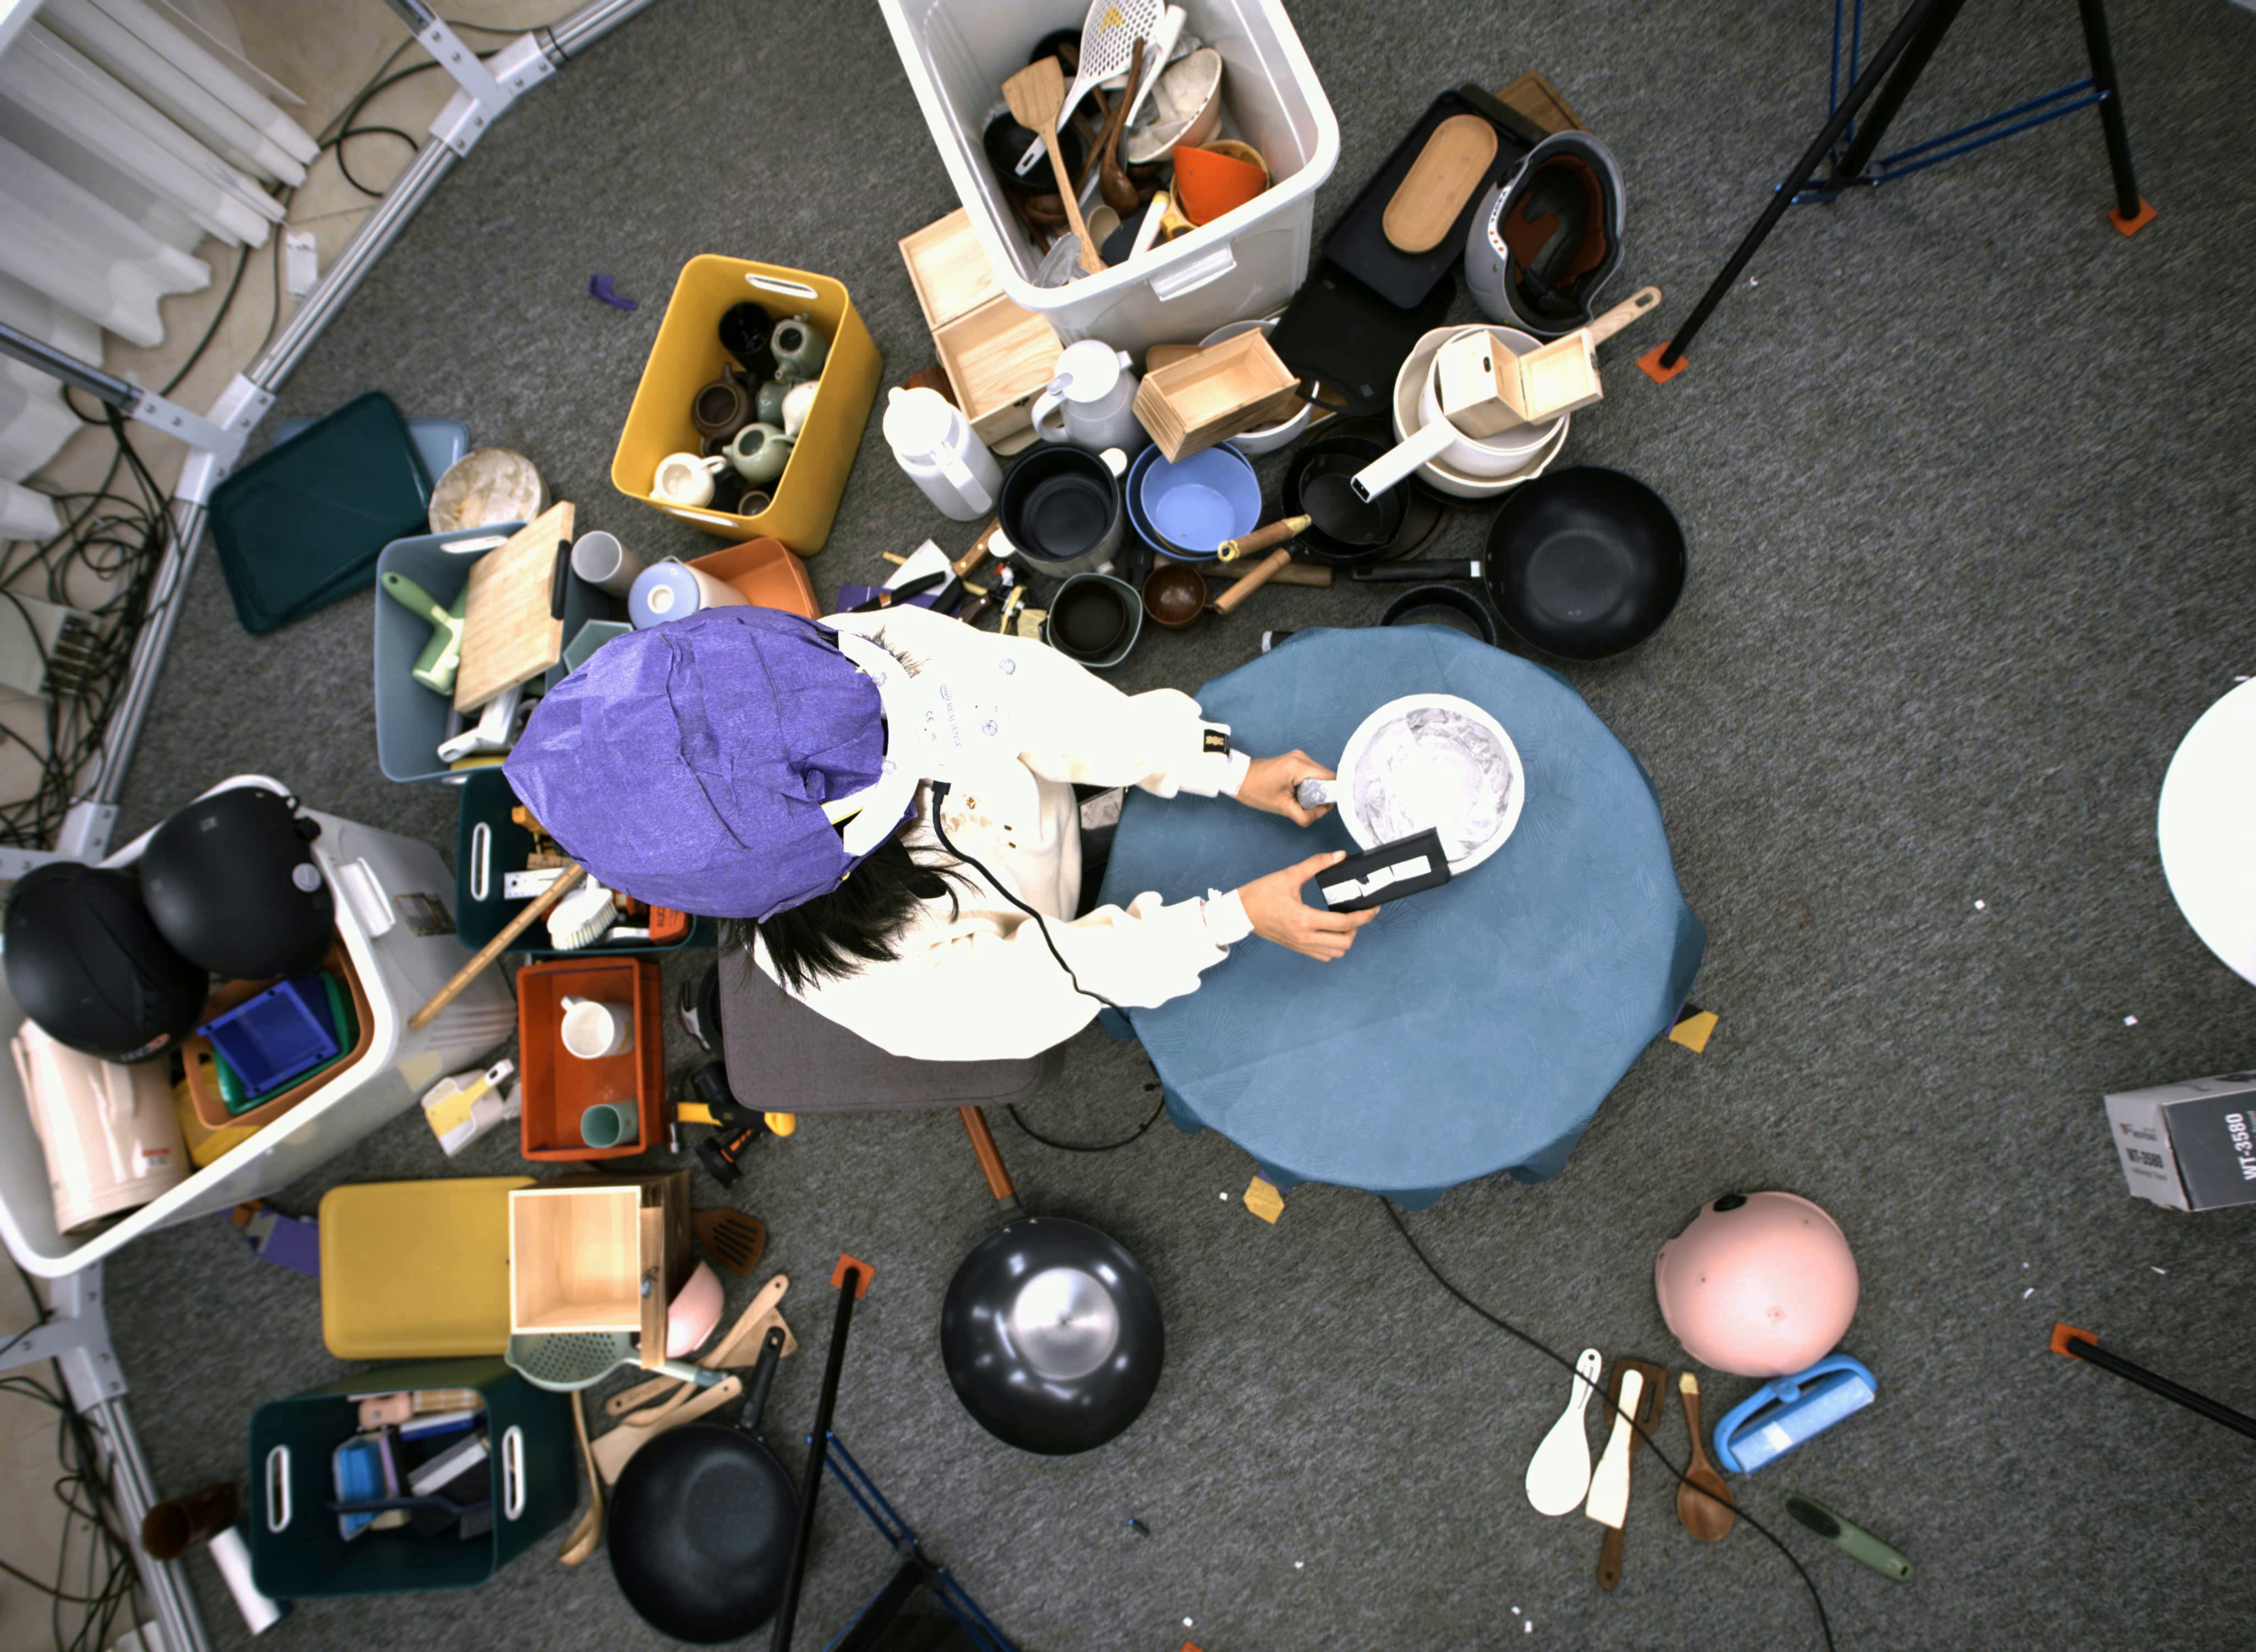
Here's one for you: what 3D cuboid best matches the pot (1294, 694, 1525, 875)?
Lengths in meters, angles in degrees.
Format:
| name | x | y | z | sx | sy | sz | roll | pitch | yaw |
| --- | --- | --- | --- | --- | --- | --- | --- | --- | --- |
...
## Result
| name | x | y | z | sx | sy | sz | roll | pitch | yaw |
| --- | --- | --- | --- | --- | --- | --- | --- | --- | --- |
| pot | 0.279 | -0.037 | 1.386 | 0.235 | 0.136 | 0.178 | -4 | 90 | 17 |

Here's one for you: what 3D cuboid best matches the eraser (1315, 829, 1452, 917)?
| name | x | y | z | sx | sy | sz | roll | pitch | yaw |
| --- | --- | --- | --- | --- | --- | --- | --- | --- | --- |
| eraser | 0.245 | 0.044 | 1.326 | 0.127 | 0.030 | 0.054 | -19 | 97 | 30 |
